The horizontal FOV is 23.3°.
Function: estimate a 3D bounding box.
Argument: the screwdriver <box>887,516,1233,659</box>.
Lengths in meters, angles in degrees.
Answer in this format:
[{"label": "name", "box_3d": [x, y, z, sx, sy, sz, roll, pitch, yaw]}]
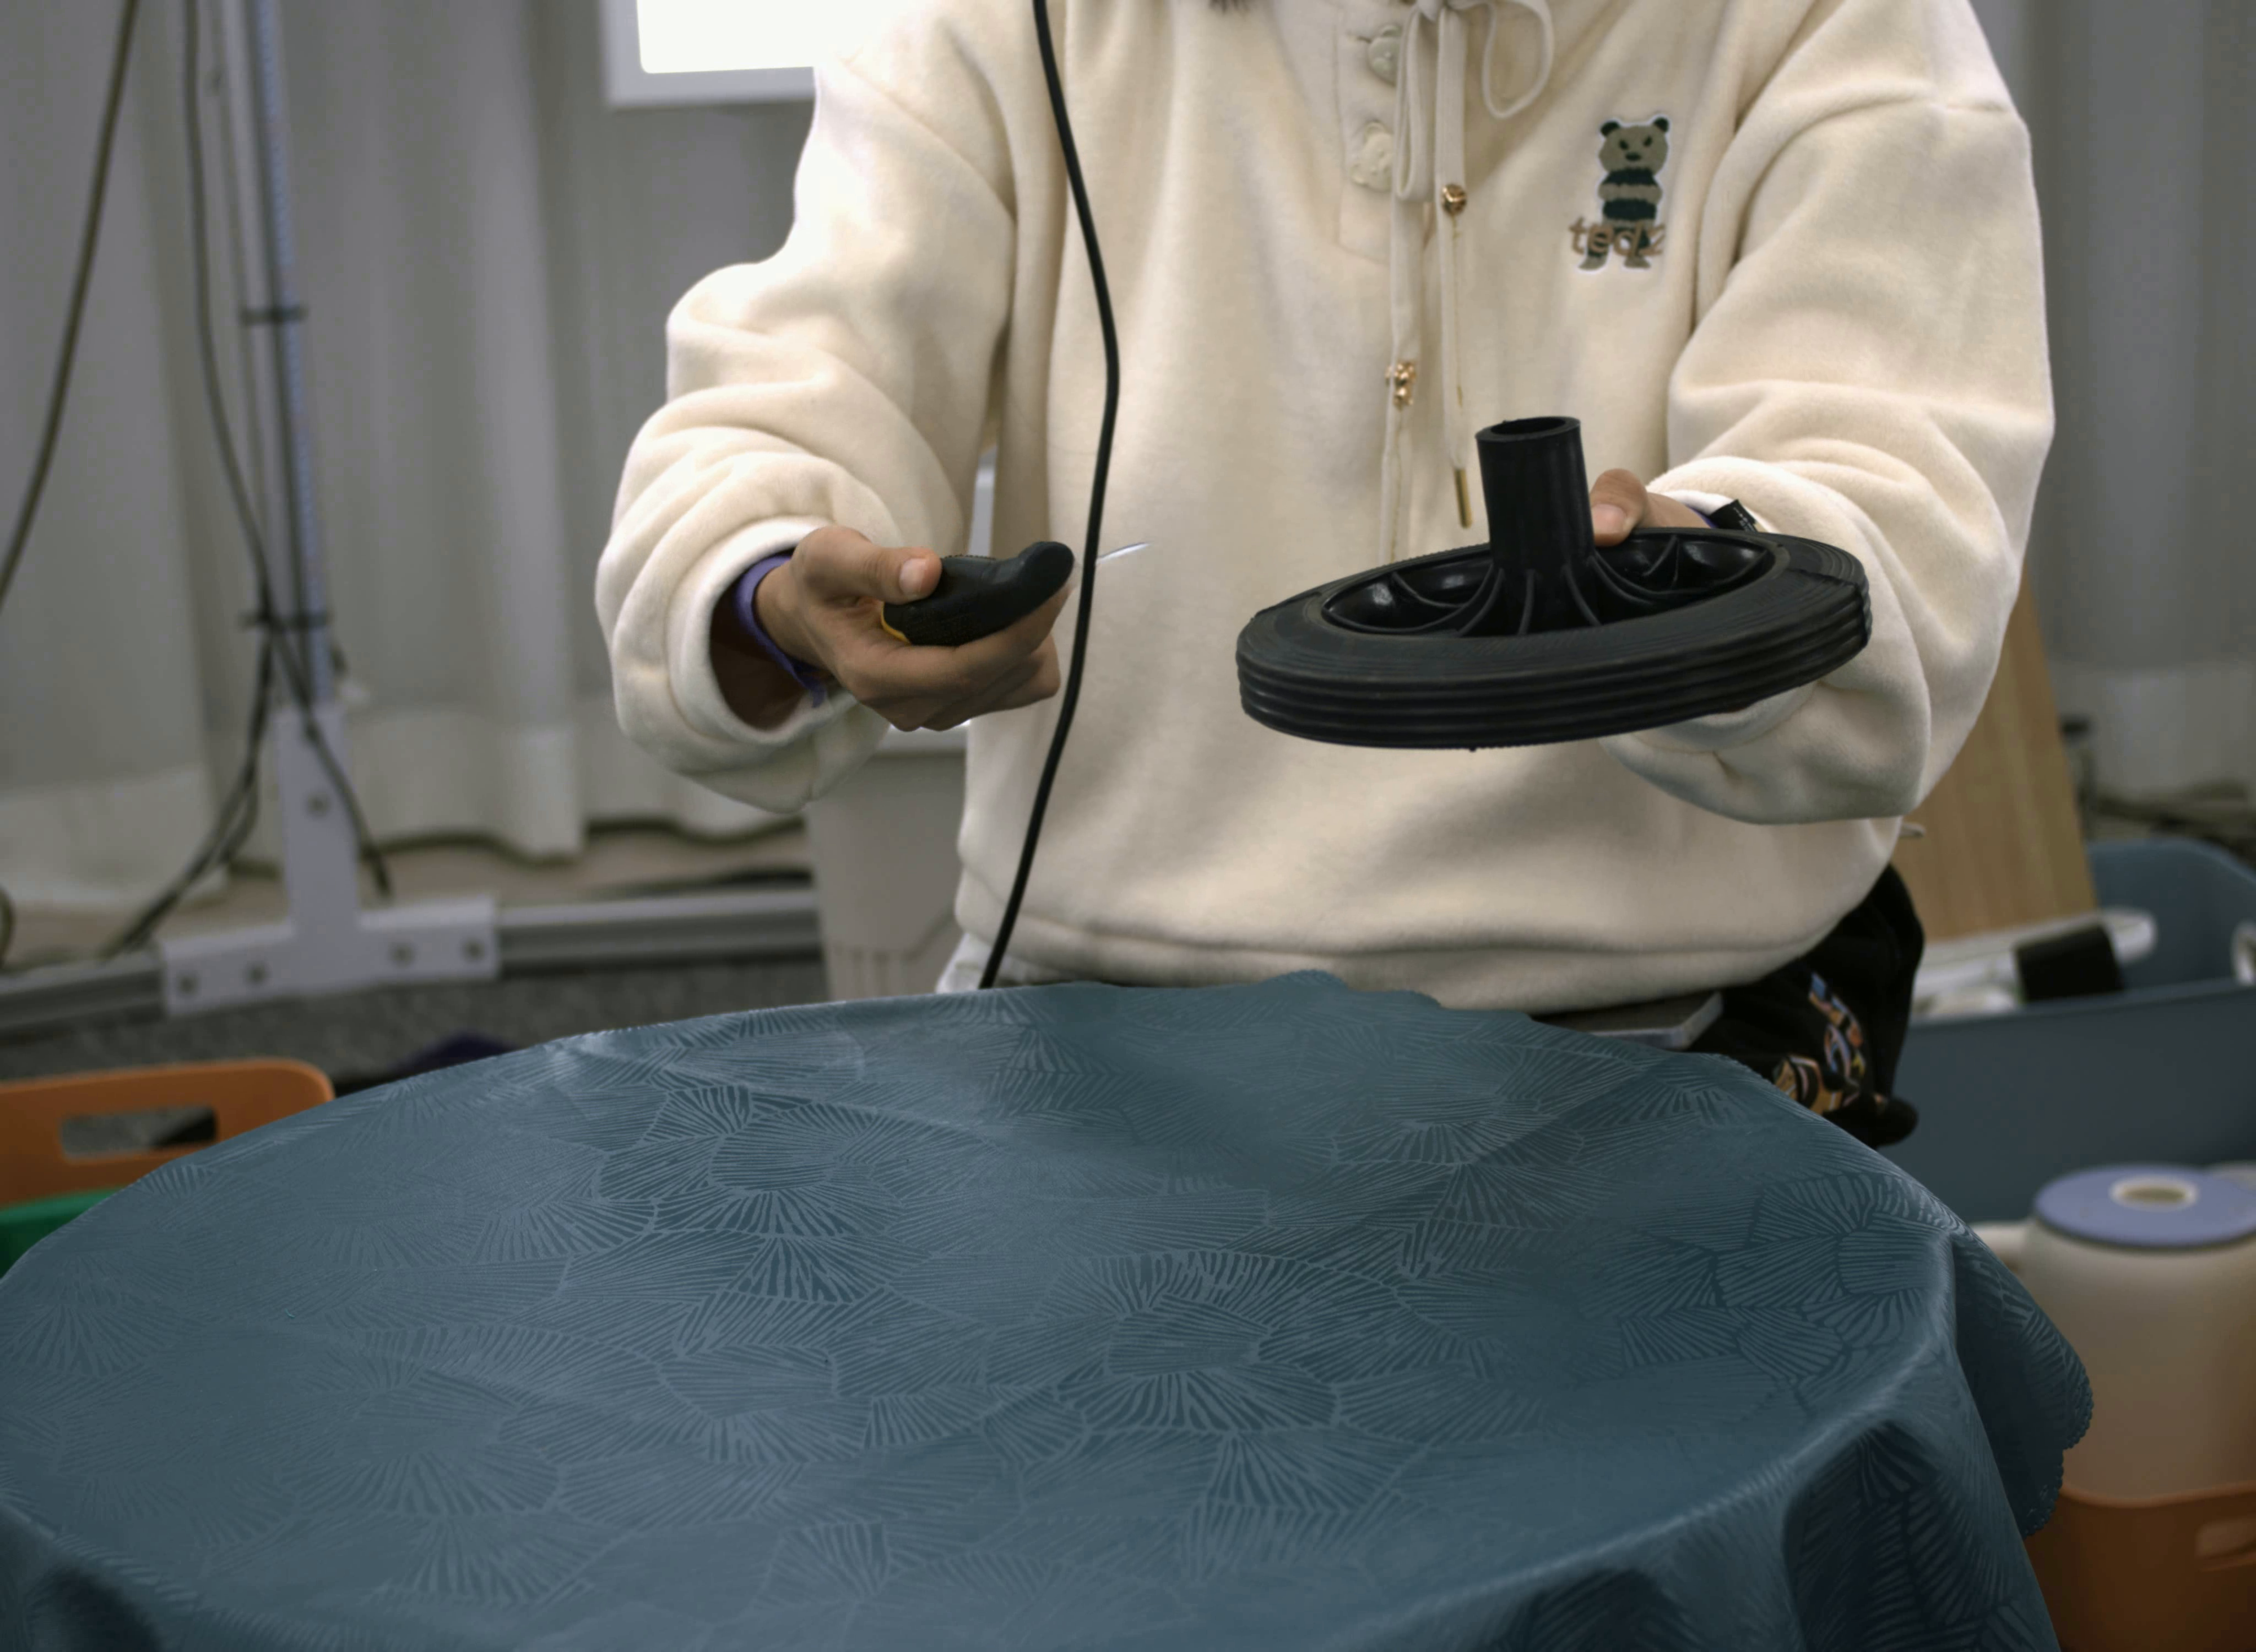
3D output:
[{"label": "screwdriver", "box_3d": [-0.019, -0.077, 1.750, 0.031, 0.031, 0.198, -13, 2, -35]}]

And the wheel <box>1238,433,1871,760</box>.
[{"label": "wheel", "box_3d": [0.122, -0.074, 1.611, 0.189, 0.079, 0.188, -17, 16, -31]}]
